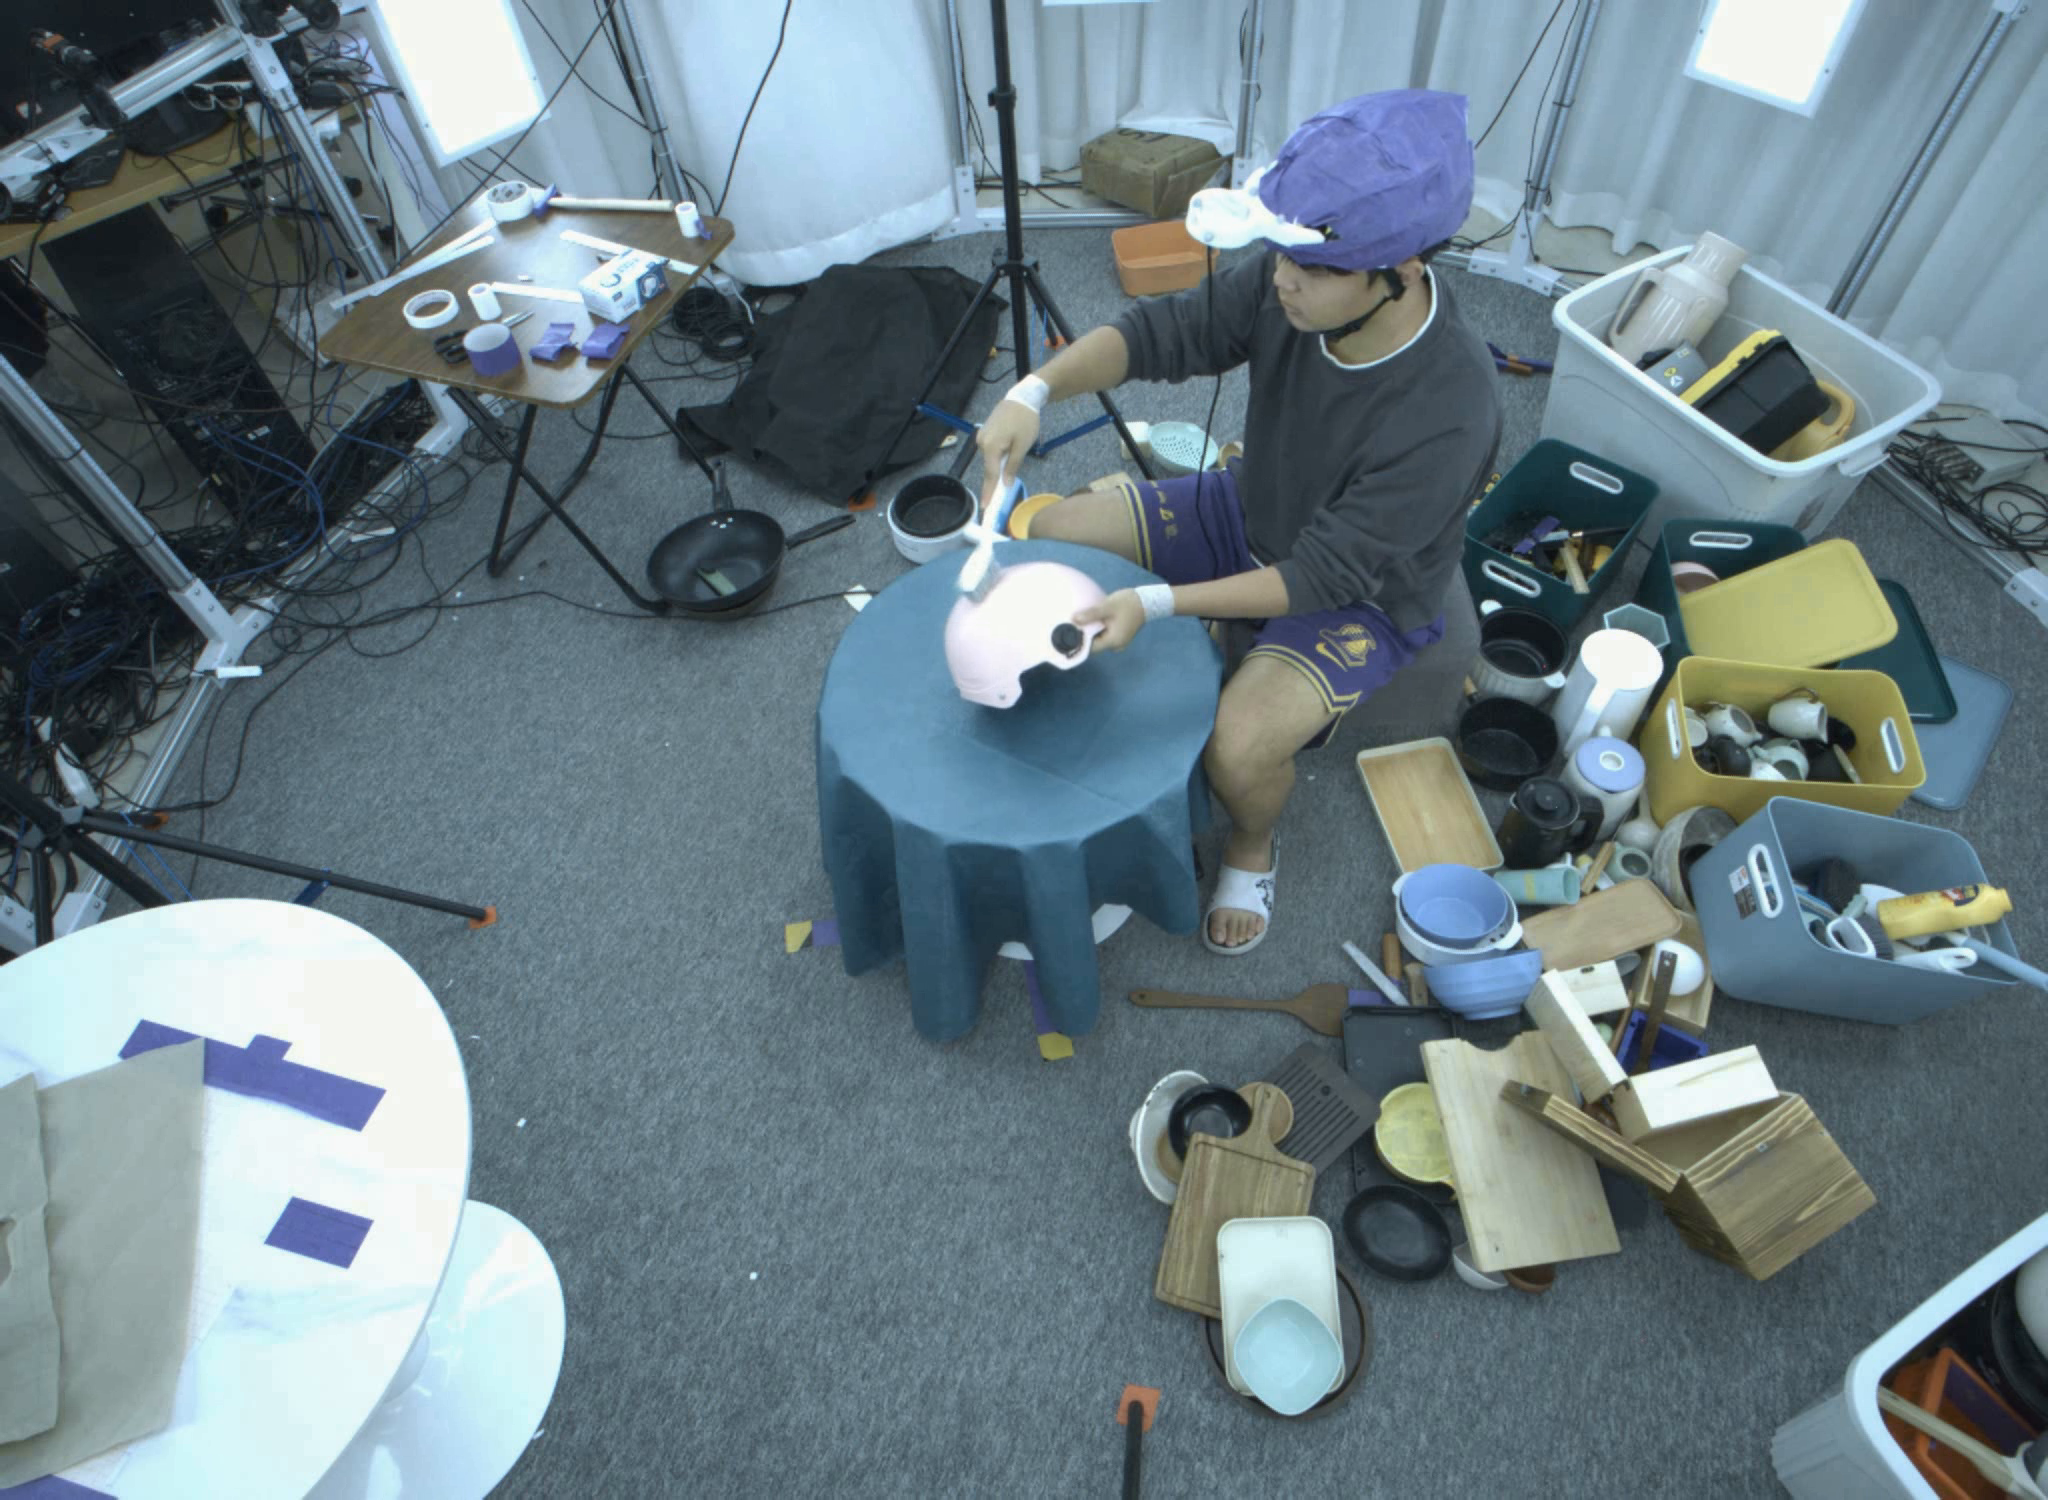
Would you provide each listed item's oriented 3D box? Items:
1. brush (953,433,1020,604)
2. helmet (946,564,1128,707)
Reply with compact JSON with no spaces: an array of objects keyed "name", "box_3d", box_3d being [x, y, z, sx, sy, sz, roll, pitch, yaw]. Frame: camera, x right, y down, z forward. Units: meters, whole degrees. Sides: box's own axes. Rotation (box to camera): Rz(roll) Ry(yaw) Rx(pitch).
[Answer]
[{"name":"brush","box_3d":[-0.039,-0.318,1.681,0.033,0.051,0.243,15,86,45]},{"name":"helmet","box_3d":[0.001,-0.185,1.758,0.267,0.160,0.231,-30,15,-7]}]
